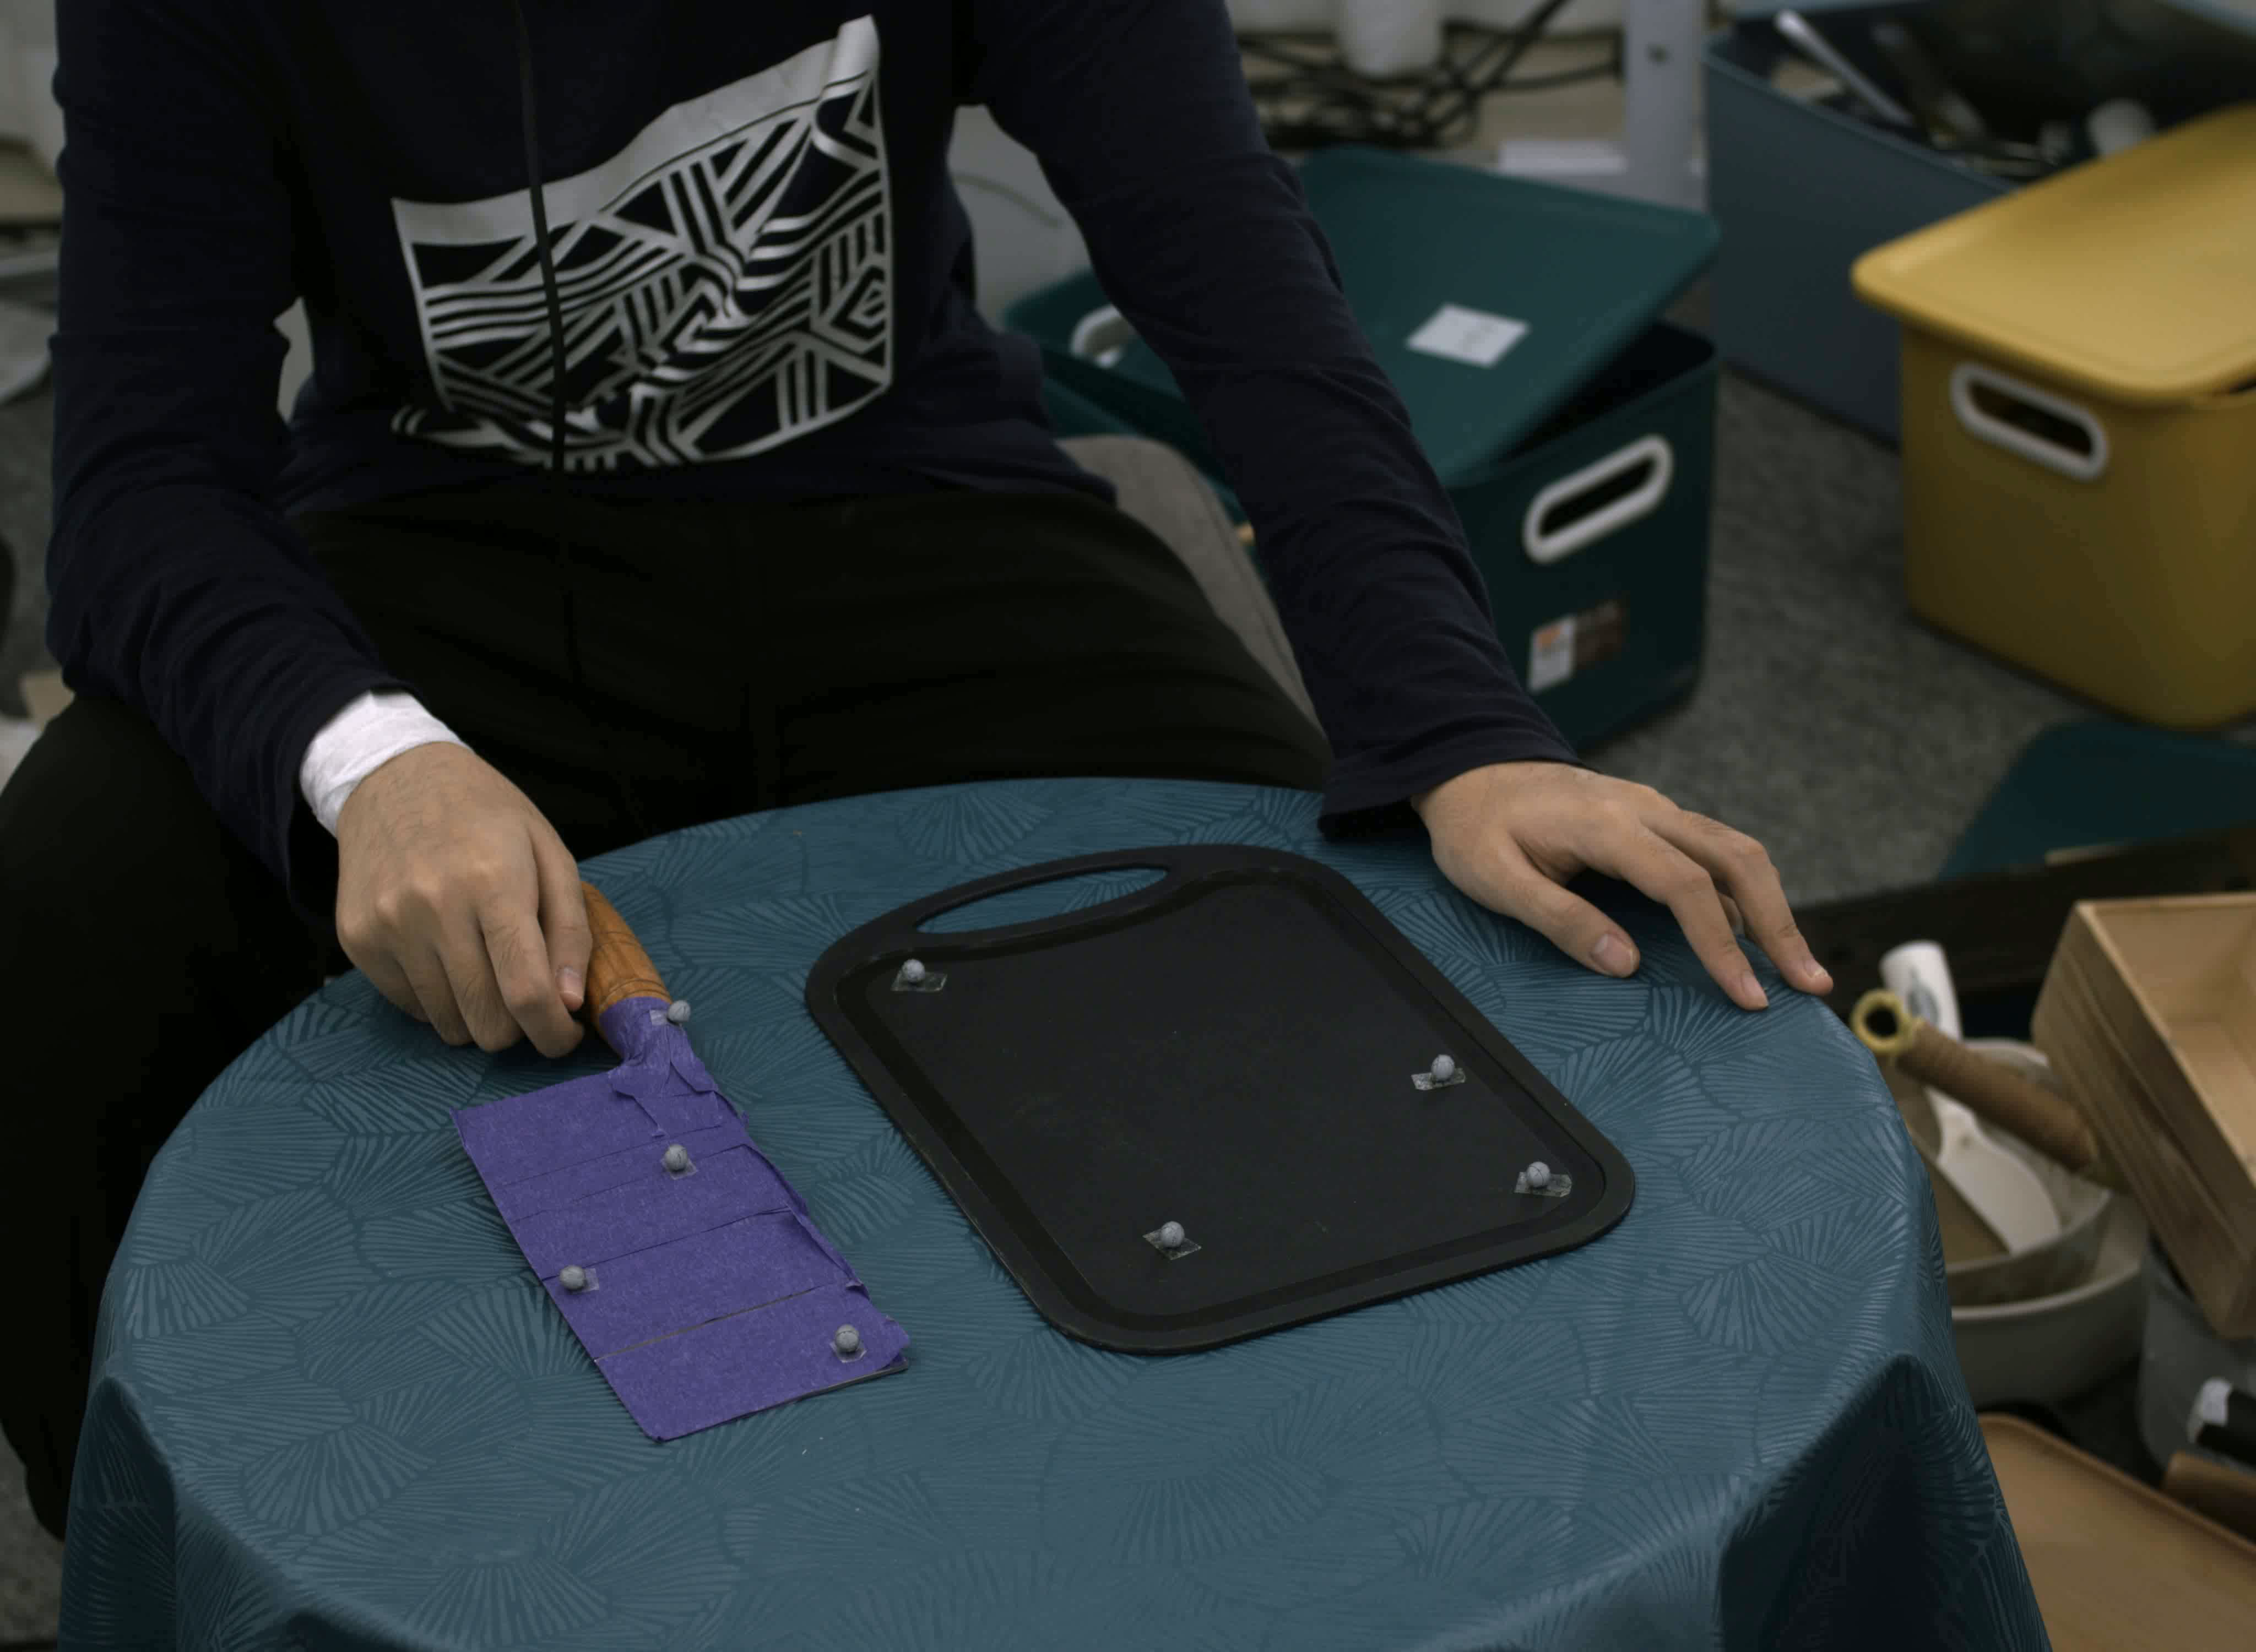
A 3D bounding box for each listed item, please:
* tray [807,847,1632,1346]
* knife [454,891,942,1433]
[{"bbox_3d":[0.021,0.083,1.927,0.212,0.009,0.328,-13,29,-19],"label":"tray"},{"bbox_3d":[-0.169,0.108,1.875,0.104,0.032,0.317,-14,30,-21],"label":"knife"}]
